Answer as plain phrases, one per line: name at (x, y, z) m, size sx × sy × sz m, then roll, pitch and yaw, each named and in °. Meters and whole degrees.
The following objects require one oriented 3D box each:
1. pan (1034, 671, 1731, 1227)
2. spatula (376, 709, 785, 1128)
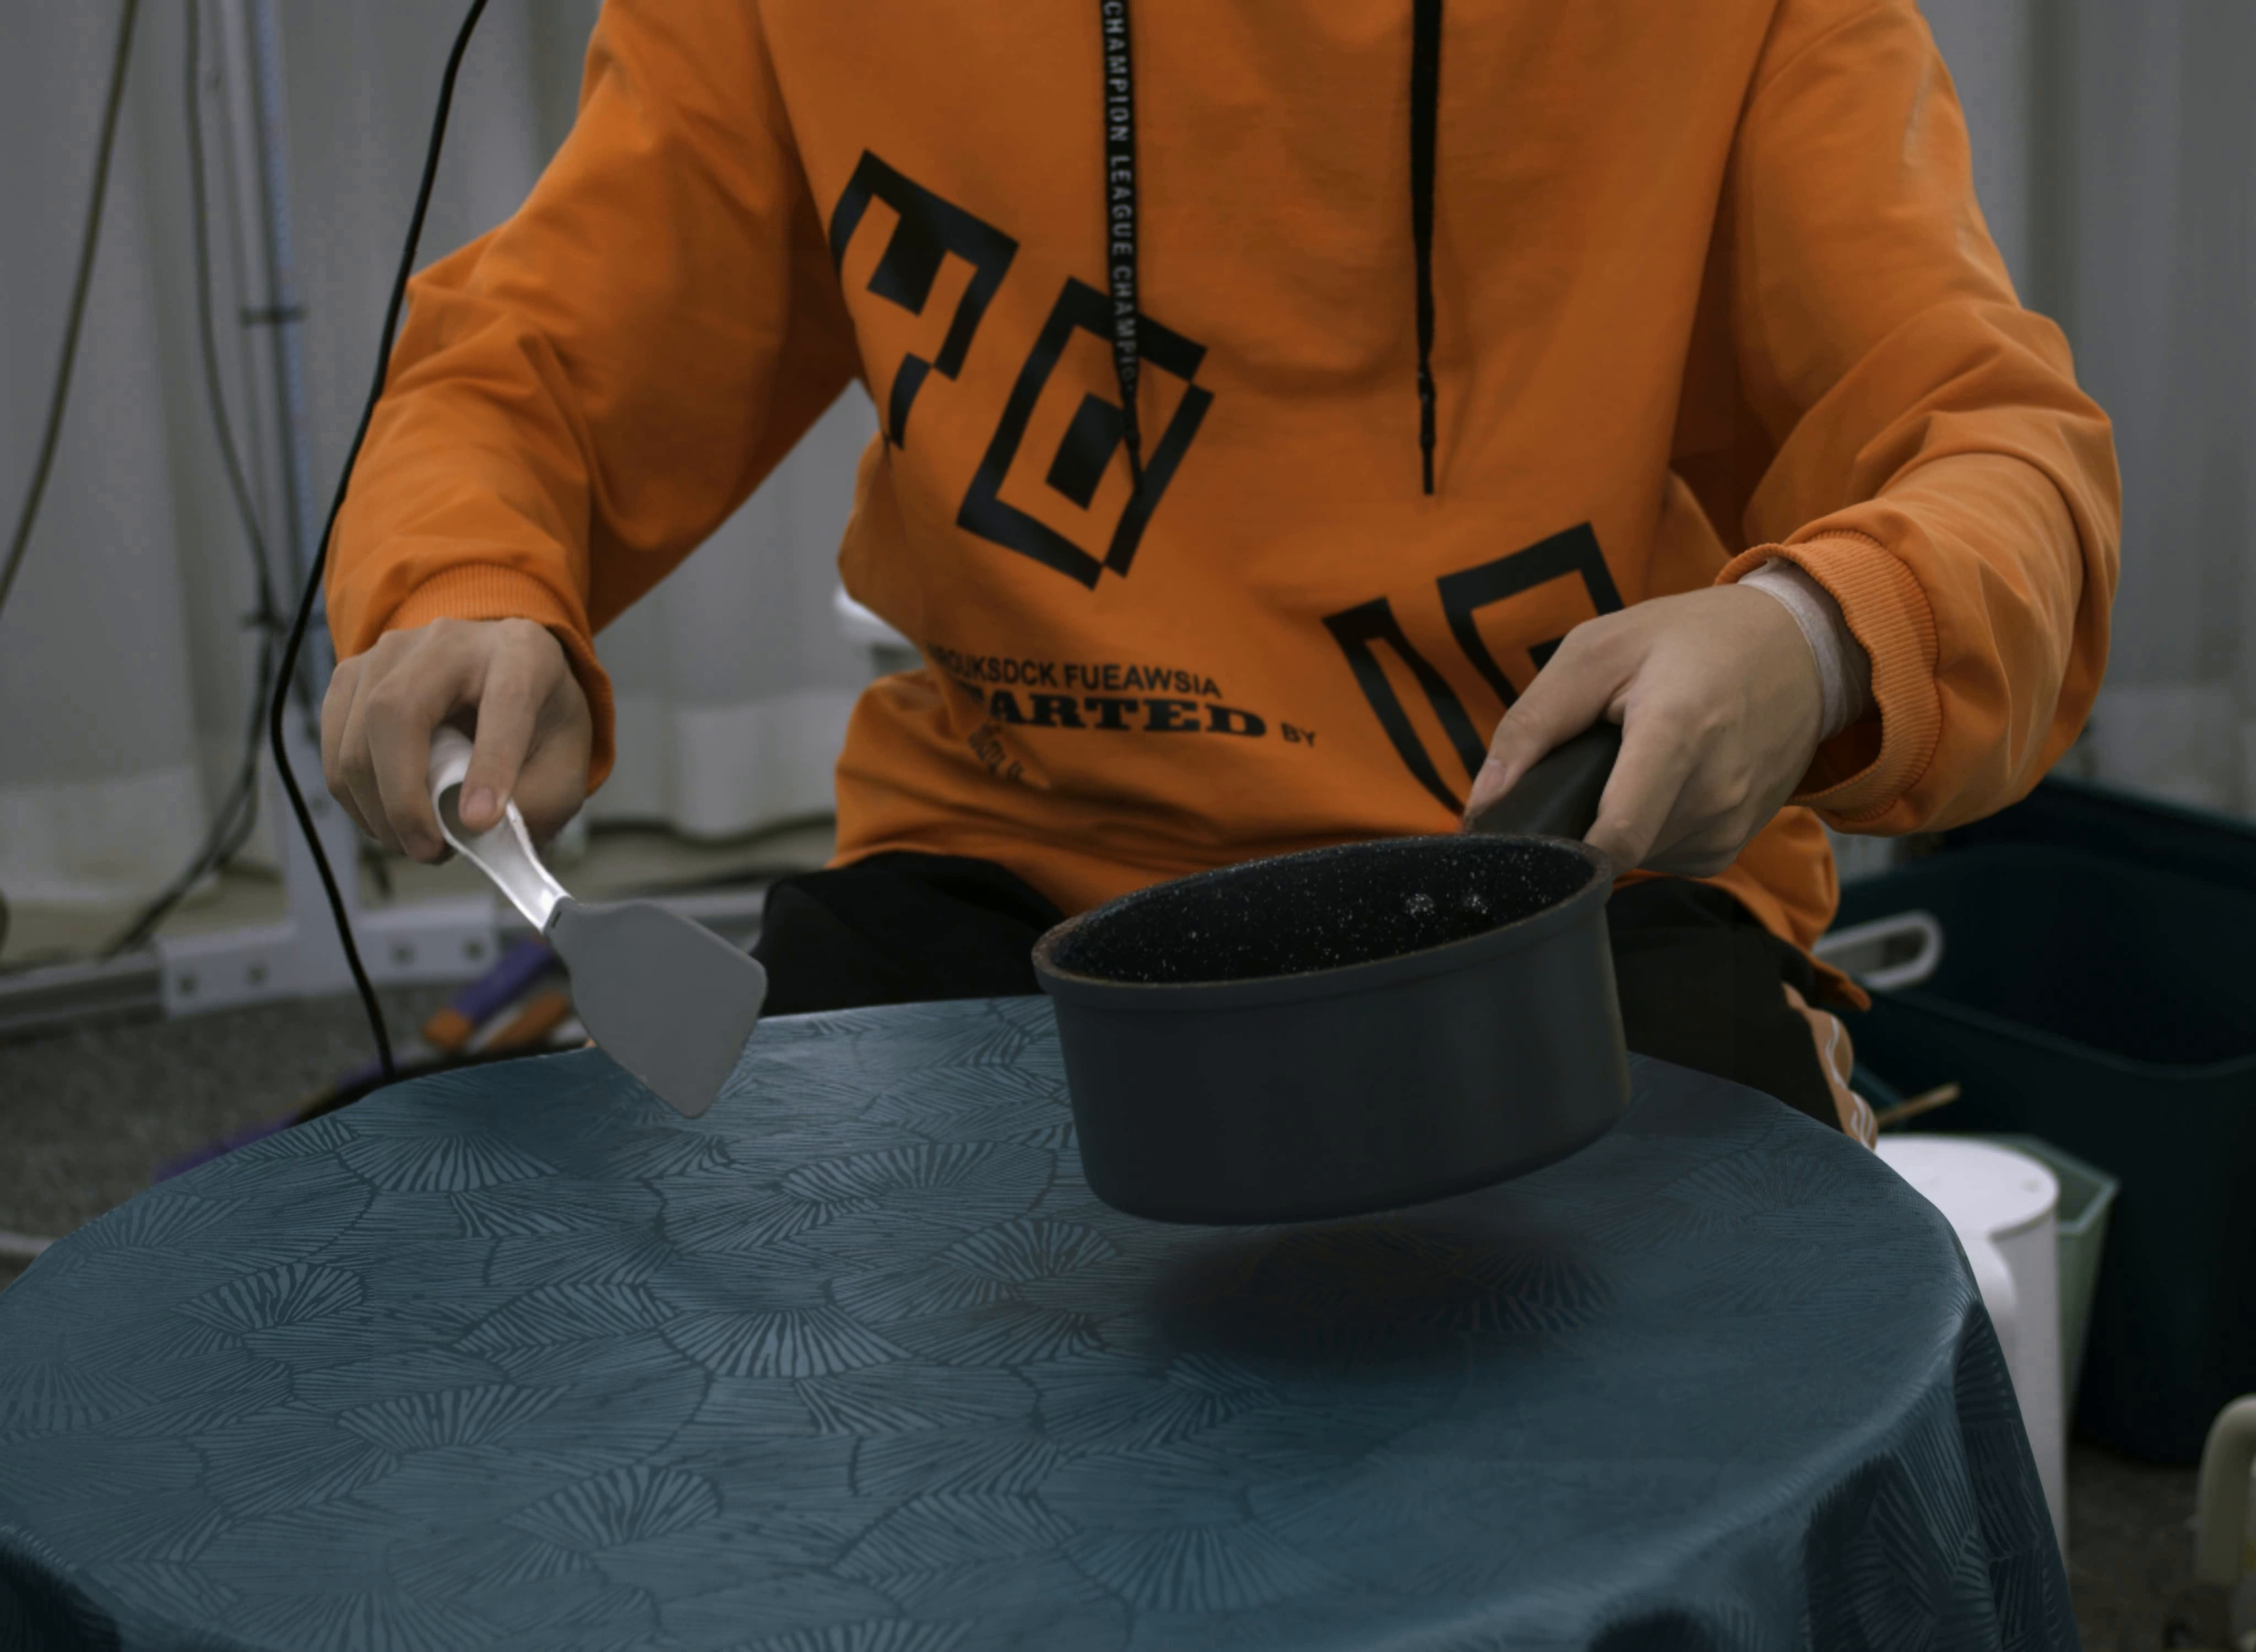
pan at (0.102, 0.035, 1.661) m, size 0.172 × 0.086 × 0.329 m, roll -2°, pitch 15°, yaw 33°
spatula at (-0.181, 0.021, 1.749) m, size 0.032 × 0.059 × 0.290 m, roll 32°, pitch 3°, yaw -32°
